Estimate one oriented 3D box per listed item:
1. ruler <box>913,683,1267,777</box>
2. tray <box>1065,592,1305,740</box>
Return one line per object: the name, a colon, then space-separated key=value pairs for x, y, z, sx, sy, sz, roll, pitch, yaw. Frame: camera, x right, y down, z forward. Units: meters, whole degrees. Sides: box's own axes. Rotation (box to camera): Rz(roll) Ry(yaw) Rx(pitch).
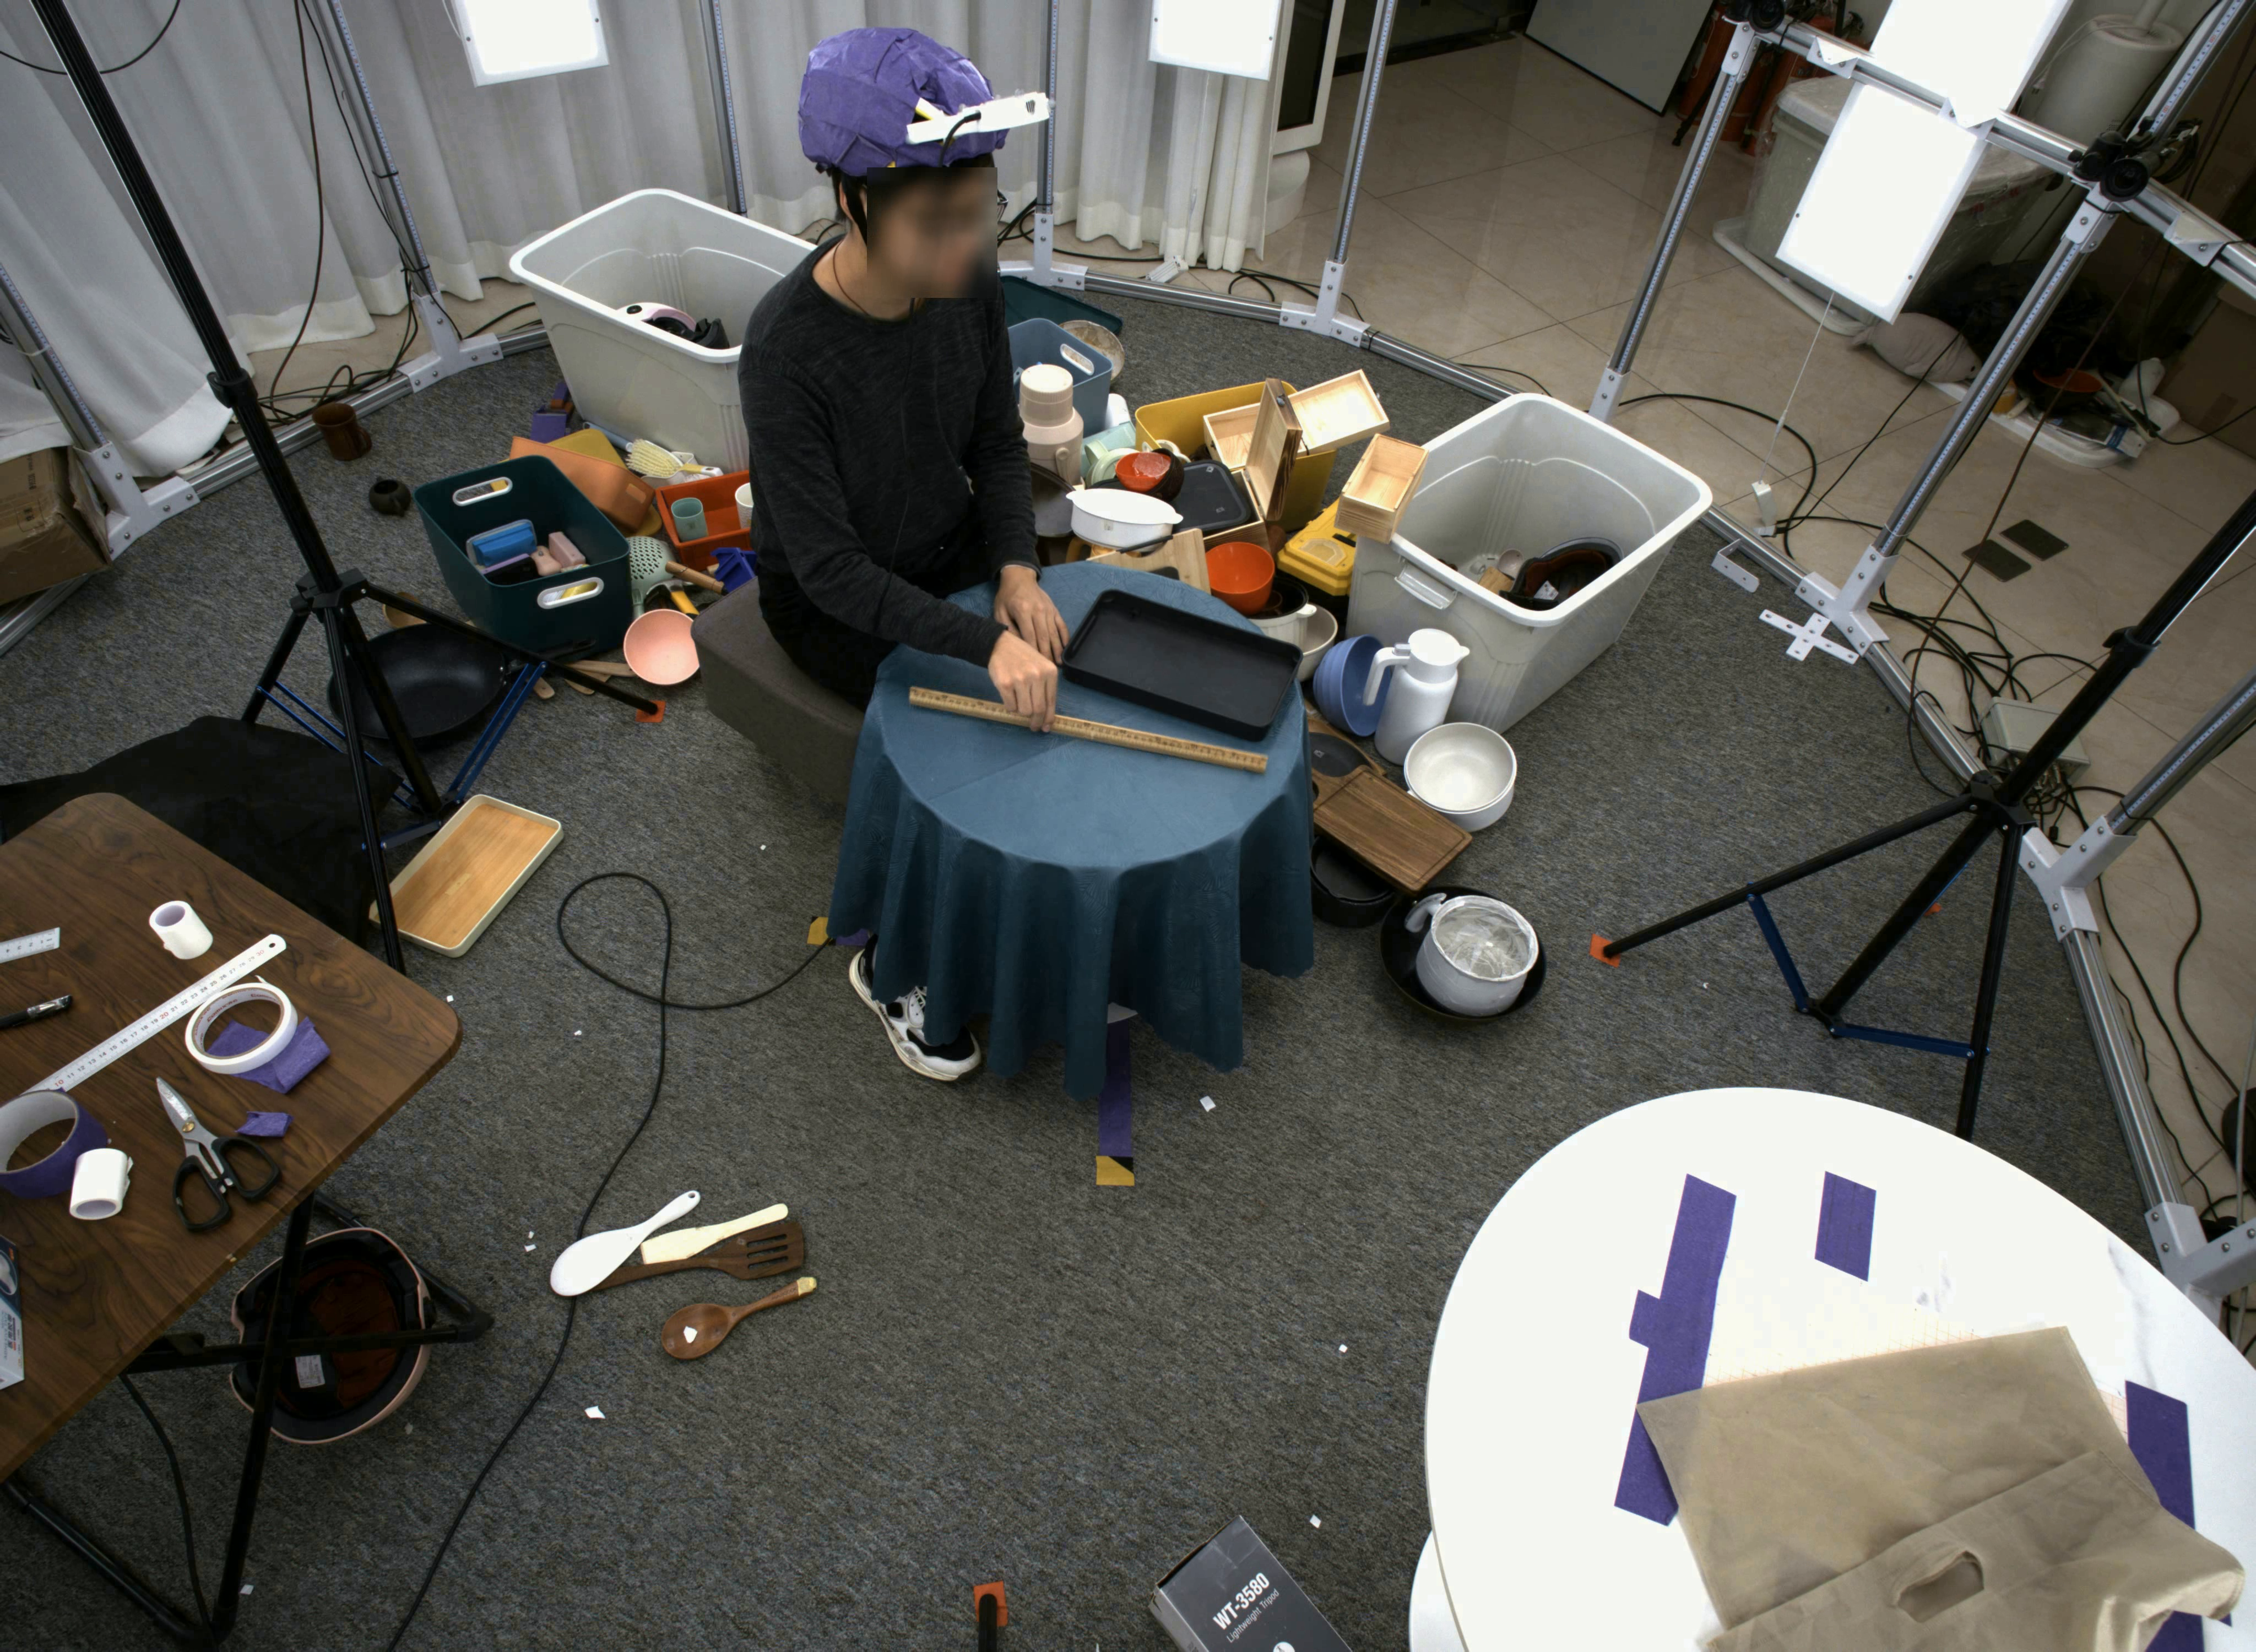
ruler: x=-0.055 y=-0.133 z=1.762 sx=0.501 sy=0.026 sz=0.006 roll=13 pitch=30 yaw=6
tray: x=0.083 y=-0.234 z=1.856 sx=0.319 sy=0.036 sz=0.188 roll=18 pitch=50 yaw=12
